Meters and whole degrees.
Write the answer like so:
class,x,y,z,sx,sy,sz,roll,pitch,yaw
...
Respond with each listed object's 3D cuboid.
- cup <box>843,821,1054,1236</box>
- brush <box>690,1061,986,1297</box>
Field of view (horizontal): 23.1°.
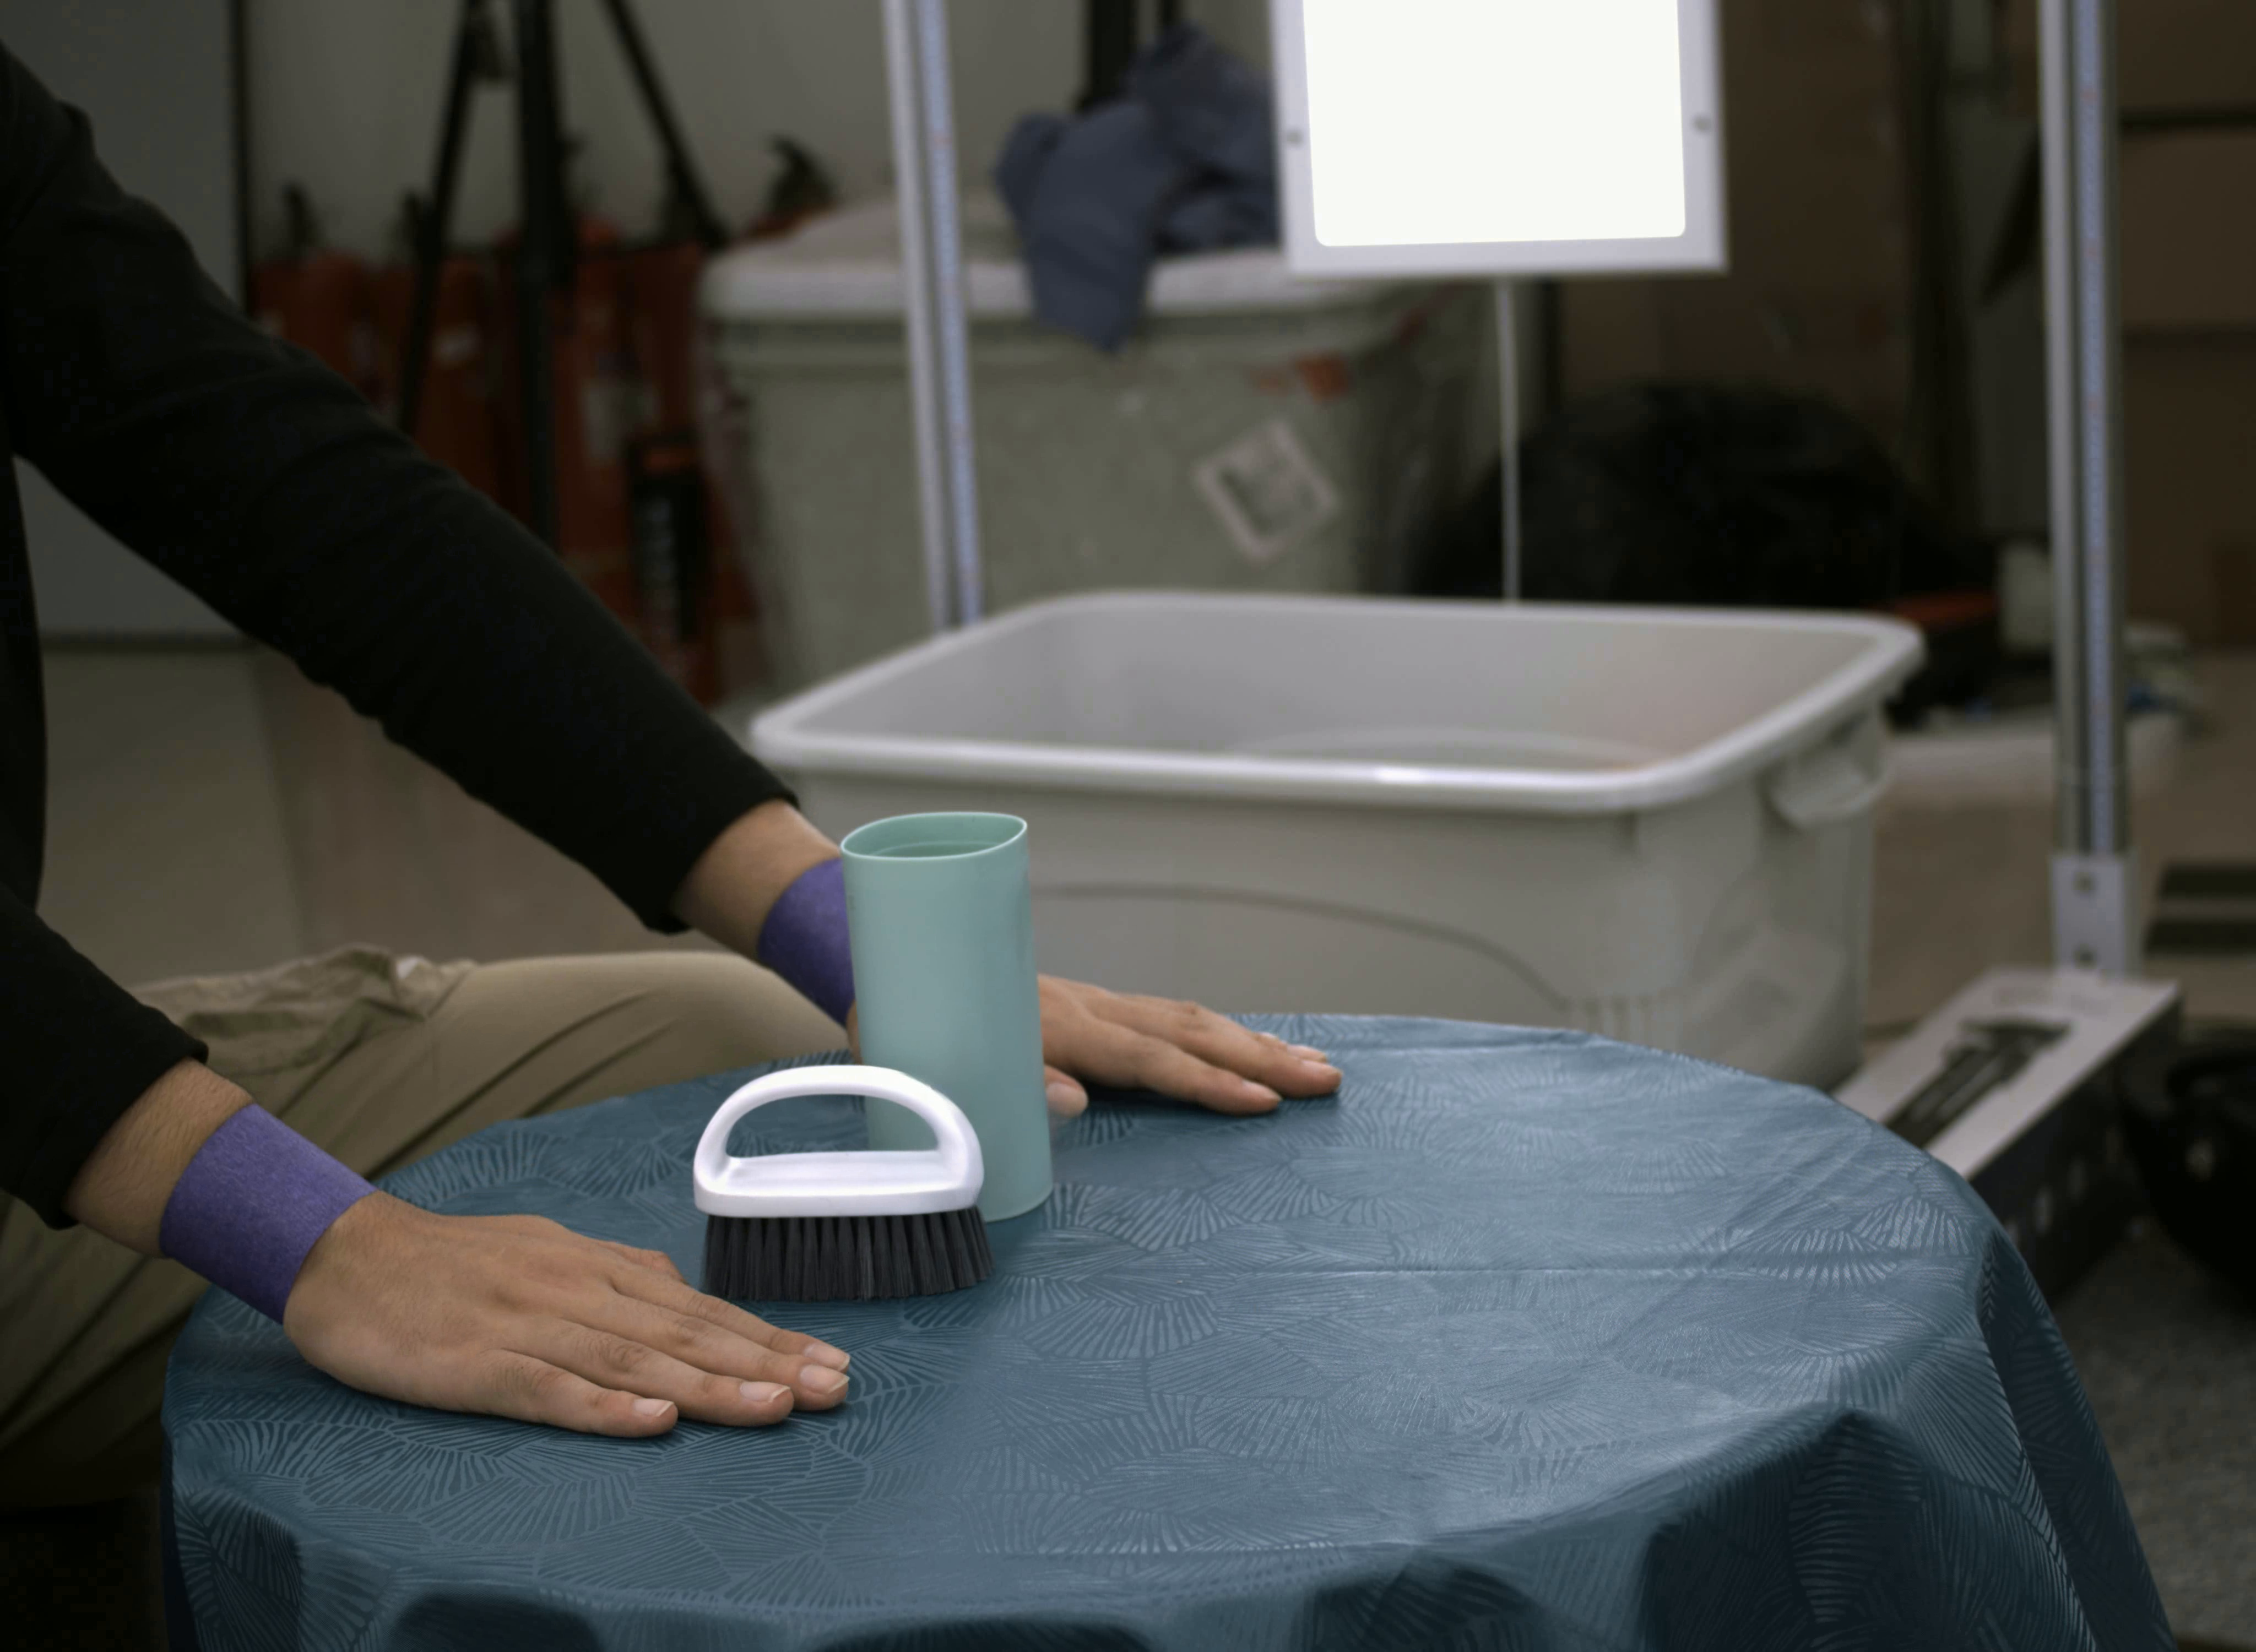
class,x,y,z,sx,sy,sz,roll,pitch,yaw
cup,-0.061,0.069,1.893,0.066,0.133,0.066,-4,14,0
brush,-0.097,0.114,1.825,0.100,0.073,0.049,0,13,13
